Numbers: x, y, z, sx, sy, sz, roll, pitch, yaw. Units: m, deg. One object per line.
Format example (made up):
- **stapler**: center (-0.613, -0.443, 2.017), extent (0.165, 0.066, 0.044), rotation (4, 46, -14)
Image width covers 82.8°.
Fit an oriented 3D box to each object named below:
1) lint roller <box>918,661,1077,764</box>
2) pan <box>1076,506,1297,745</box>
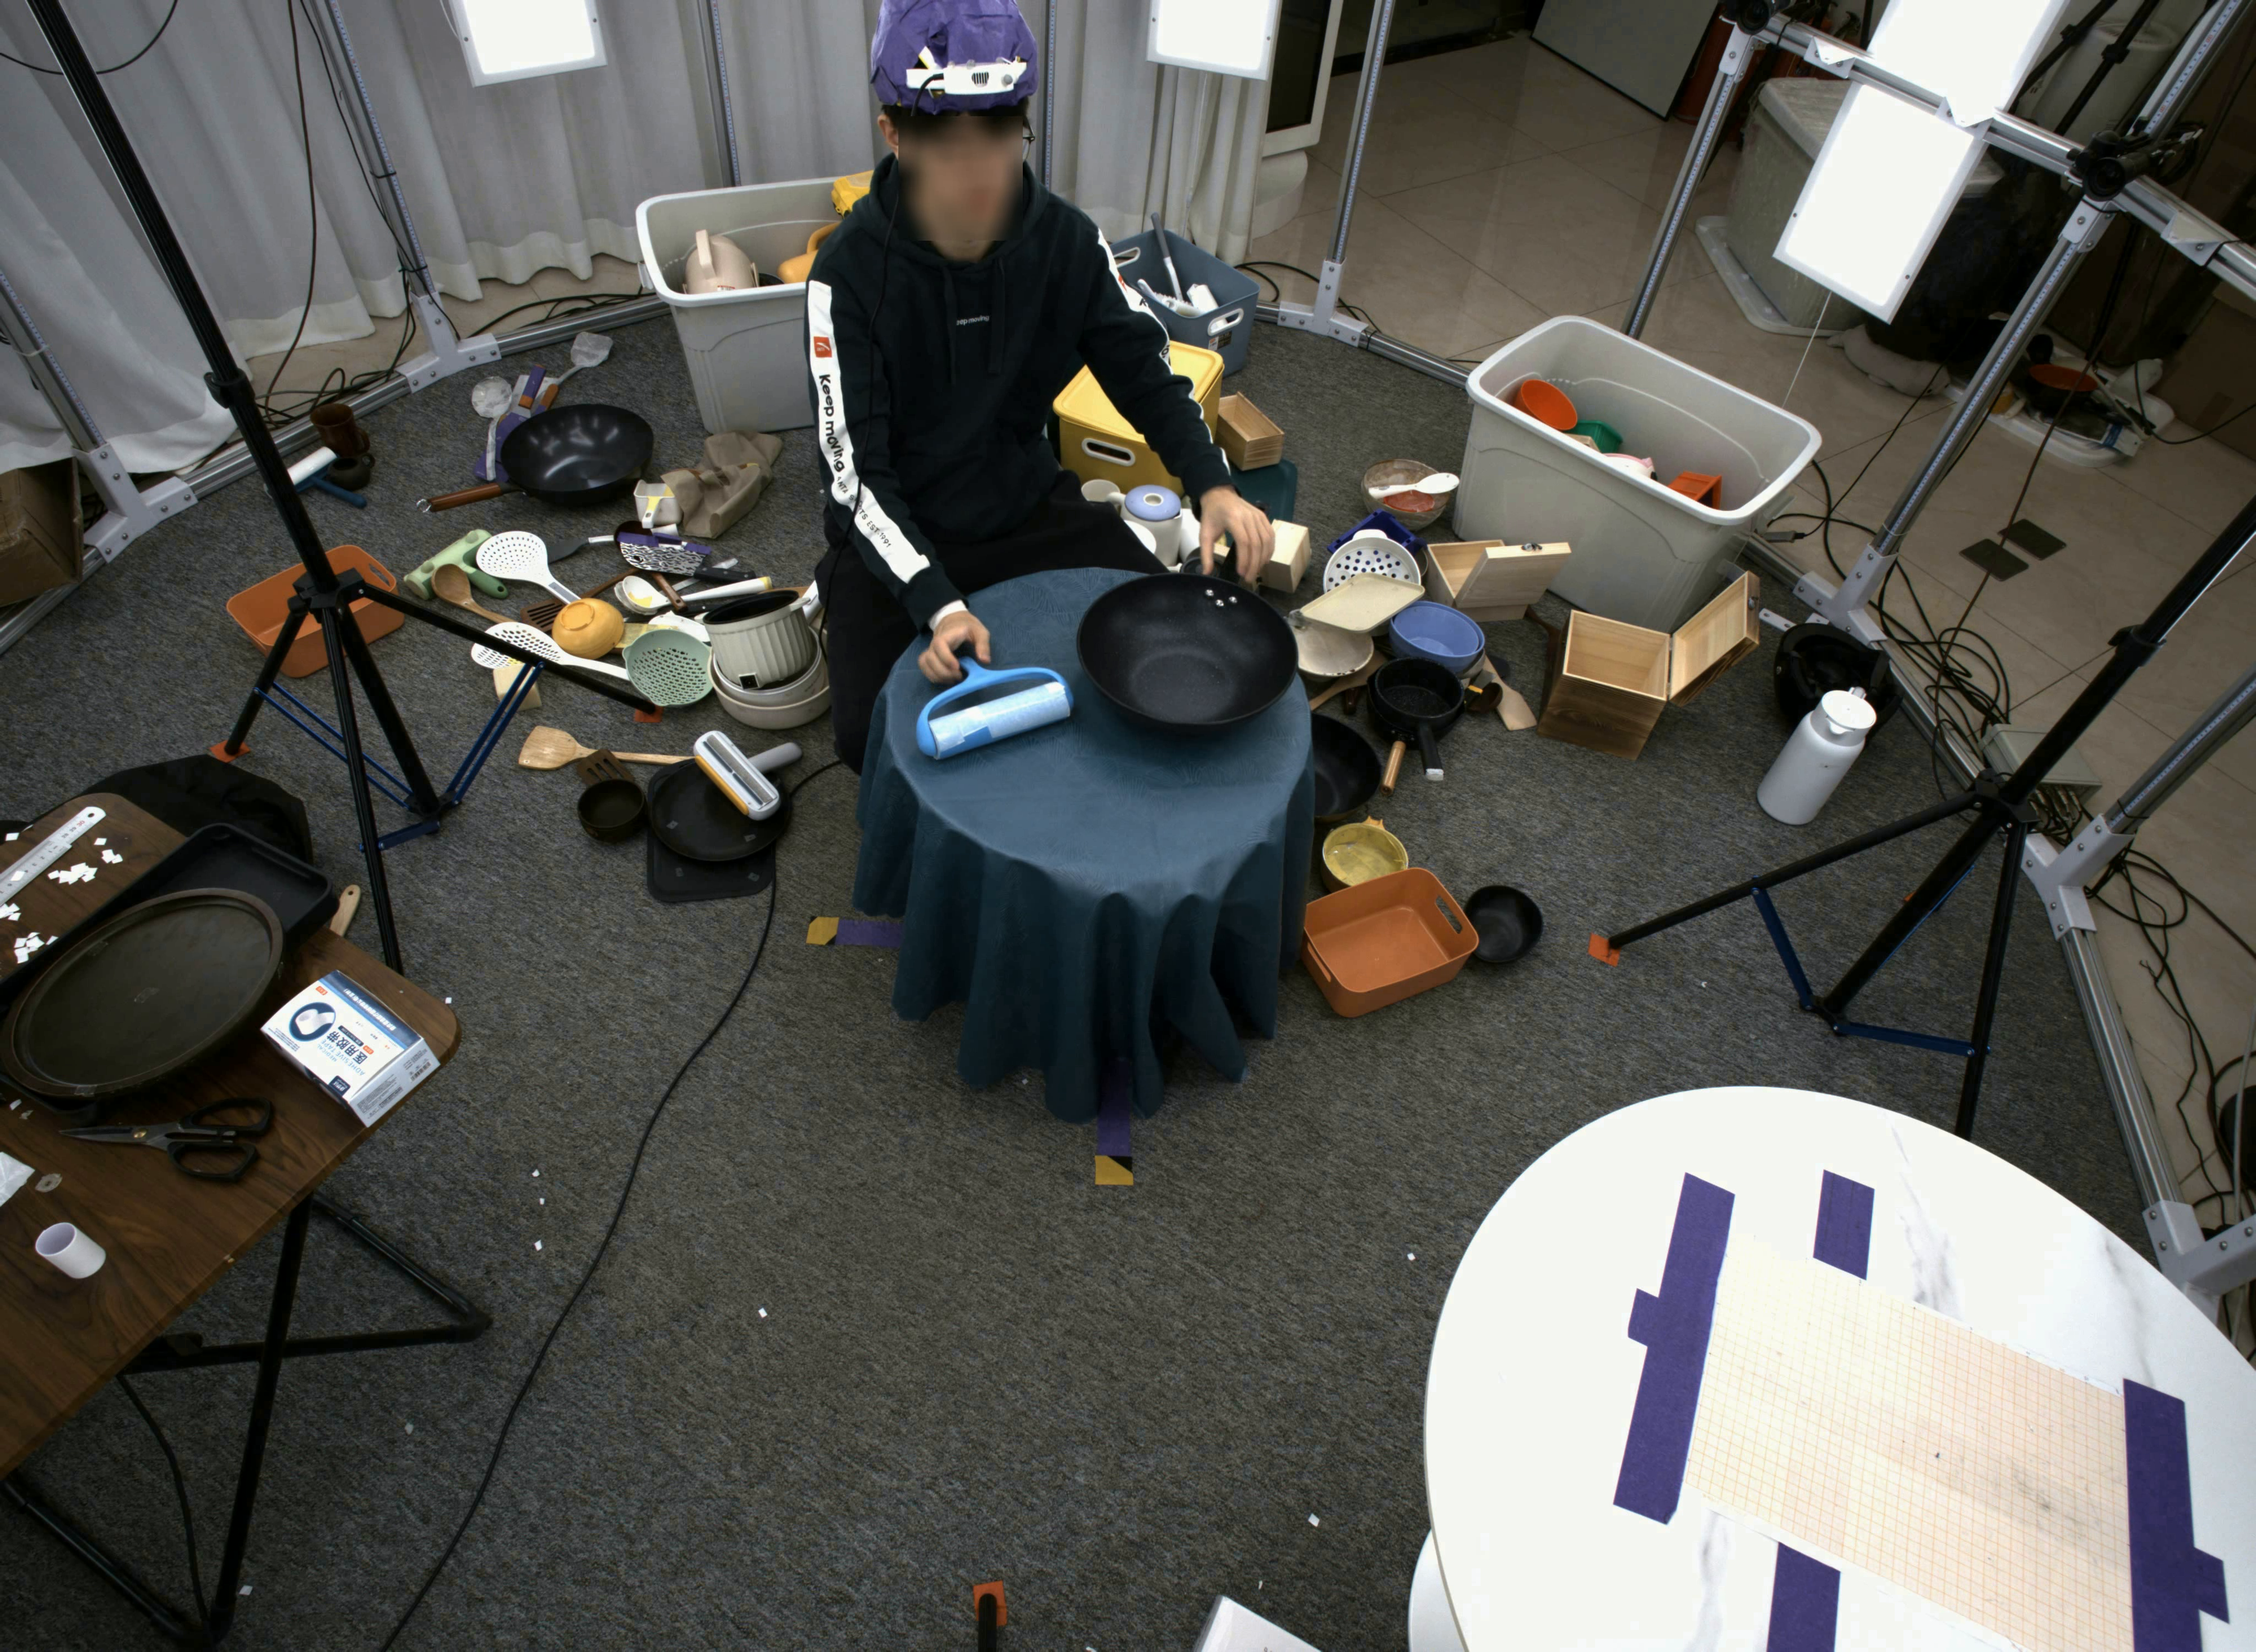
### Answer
- **lint roller**: center (-0.204, -0.183, 1.778), extent (0.230, 0.066, 0.184), rotation (-24, 55, -20)
- **pan**: center (0.111, -0.286, 1.854), extent (0.311, 0.109, 0.486), rotation (20, 51, 11)
